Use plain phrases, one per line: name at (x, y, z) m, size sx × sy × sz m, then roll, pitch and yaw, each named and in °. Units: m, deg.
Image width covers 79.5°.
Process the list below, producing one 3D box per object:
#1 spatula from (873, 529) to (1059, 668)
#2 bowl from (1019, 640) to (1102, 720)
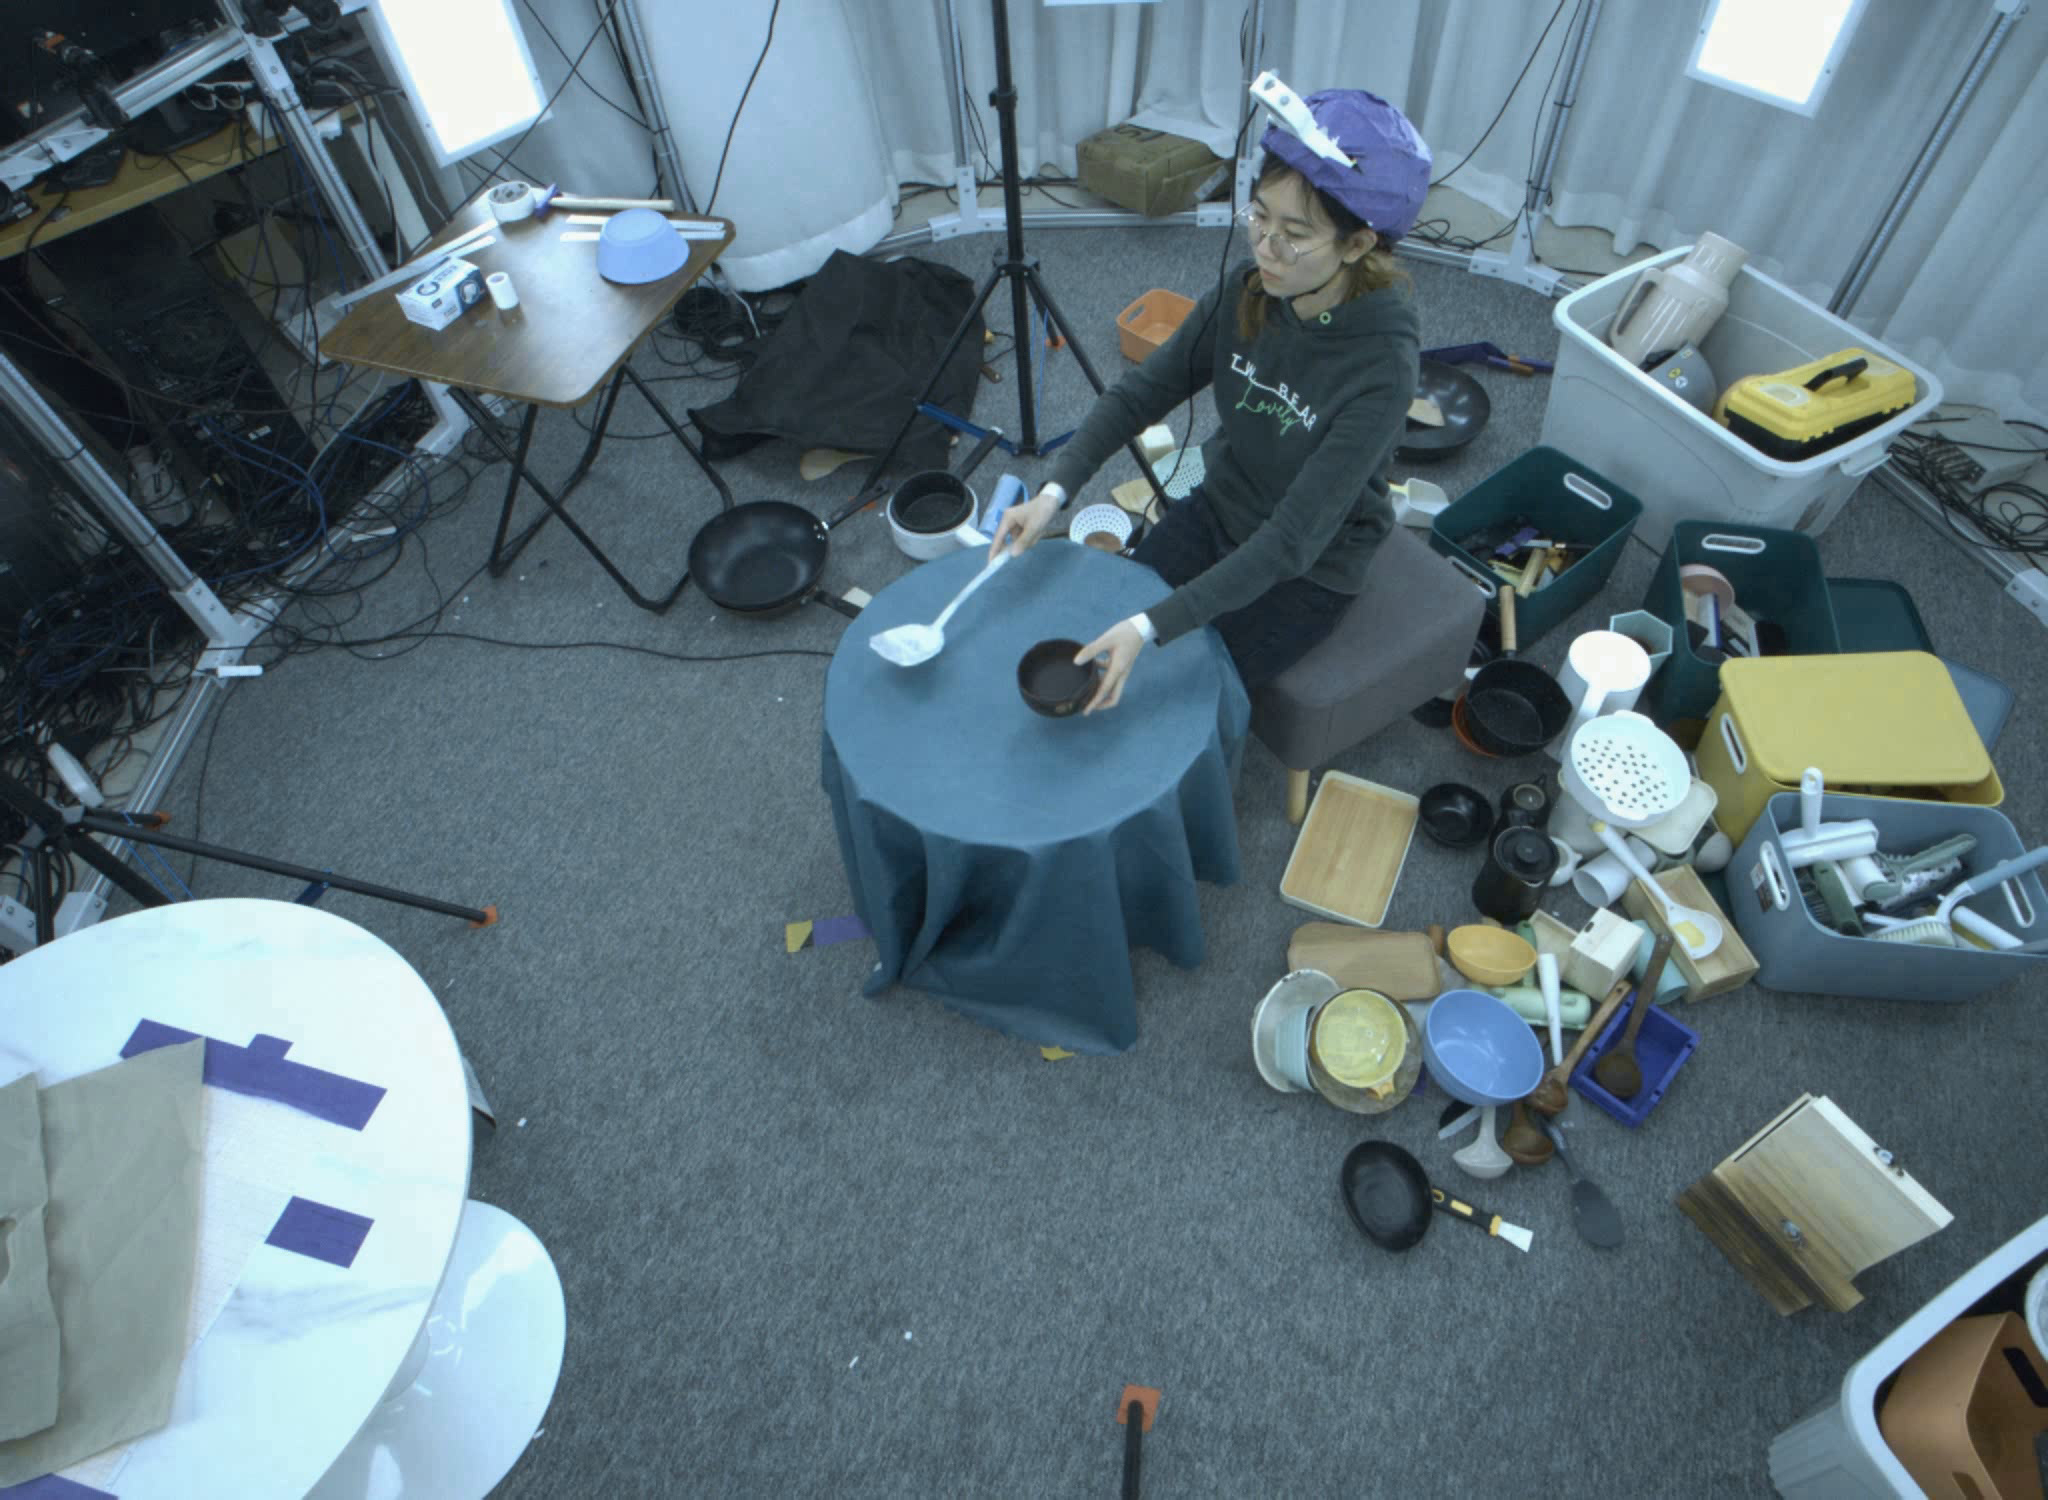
spatula at (-0.078, -0.246, 1.885) m, size 0.096 × 0.045 × 0.366 m, roll 32°, pitch 68°, yaw 31°
bowl at (0.054, -0.092, 1.764) m, size 0.117 × 0.071 × 0.117 m, roll -3°, pitch 55°, yaw 6°
